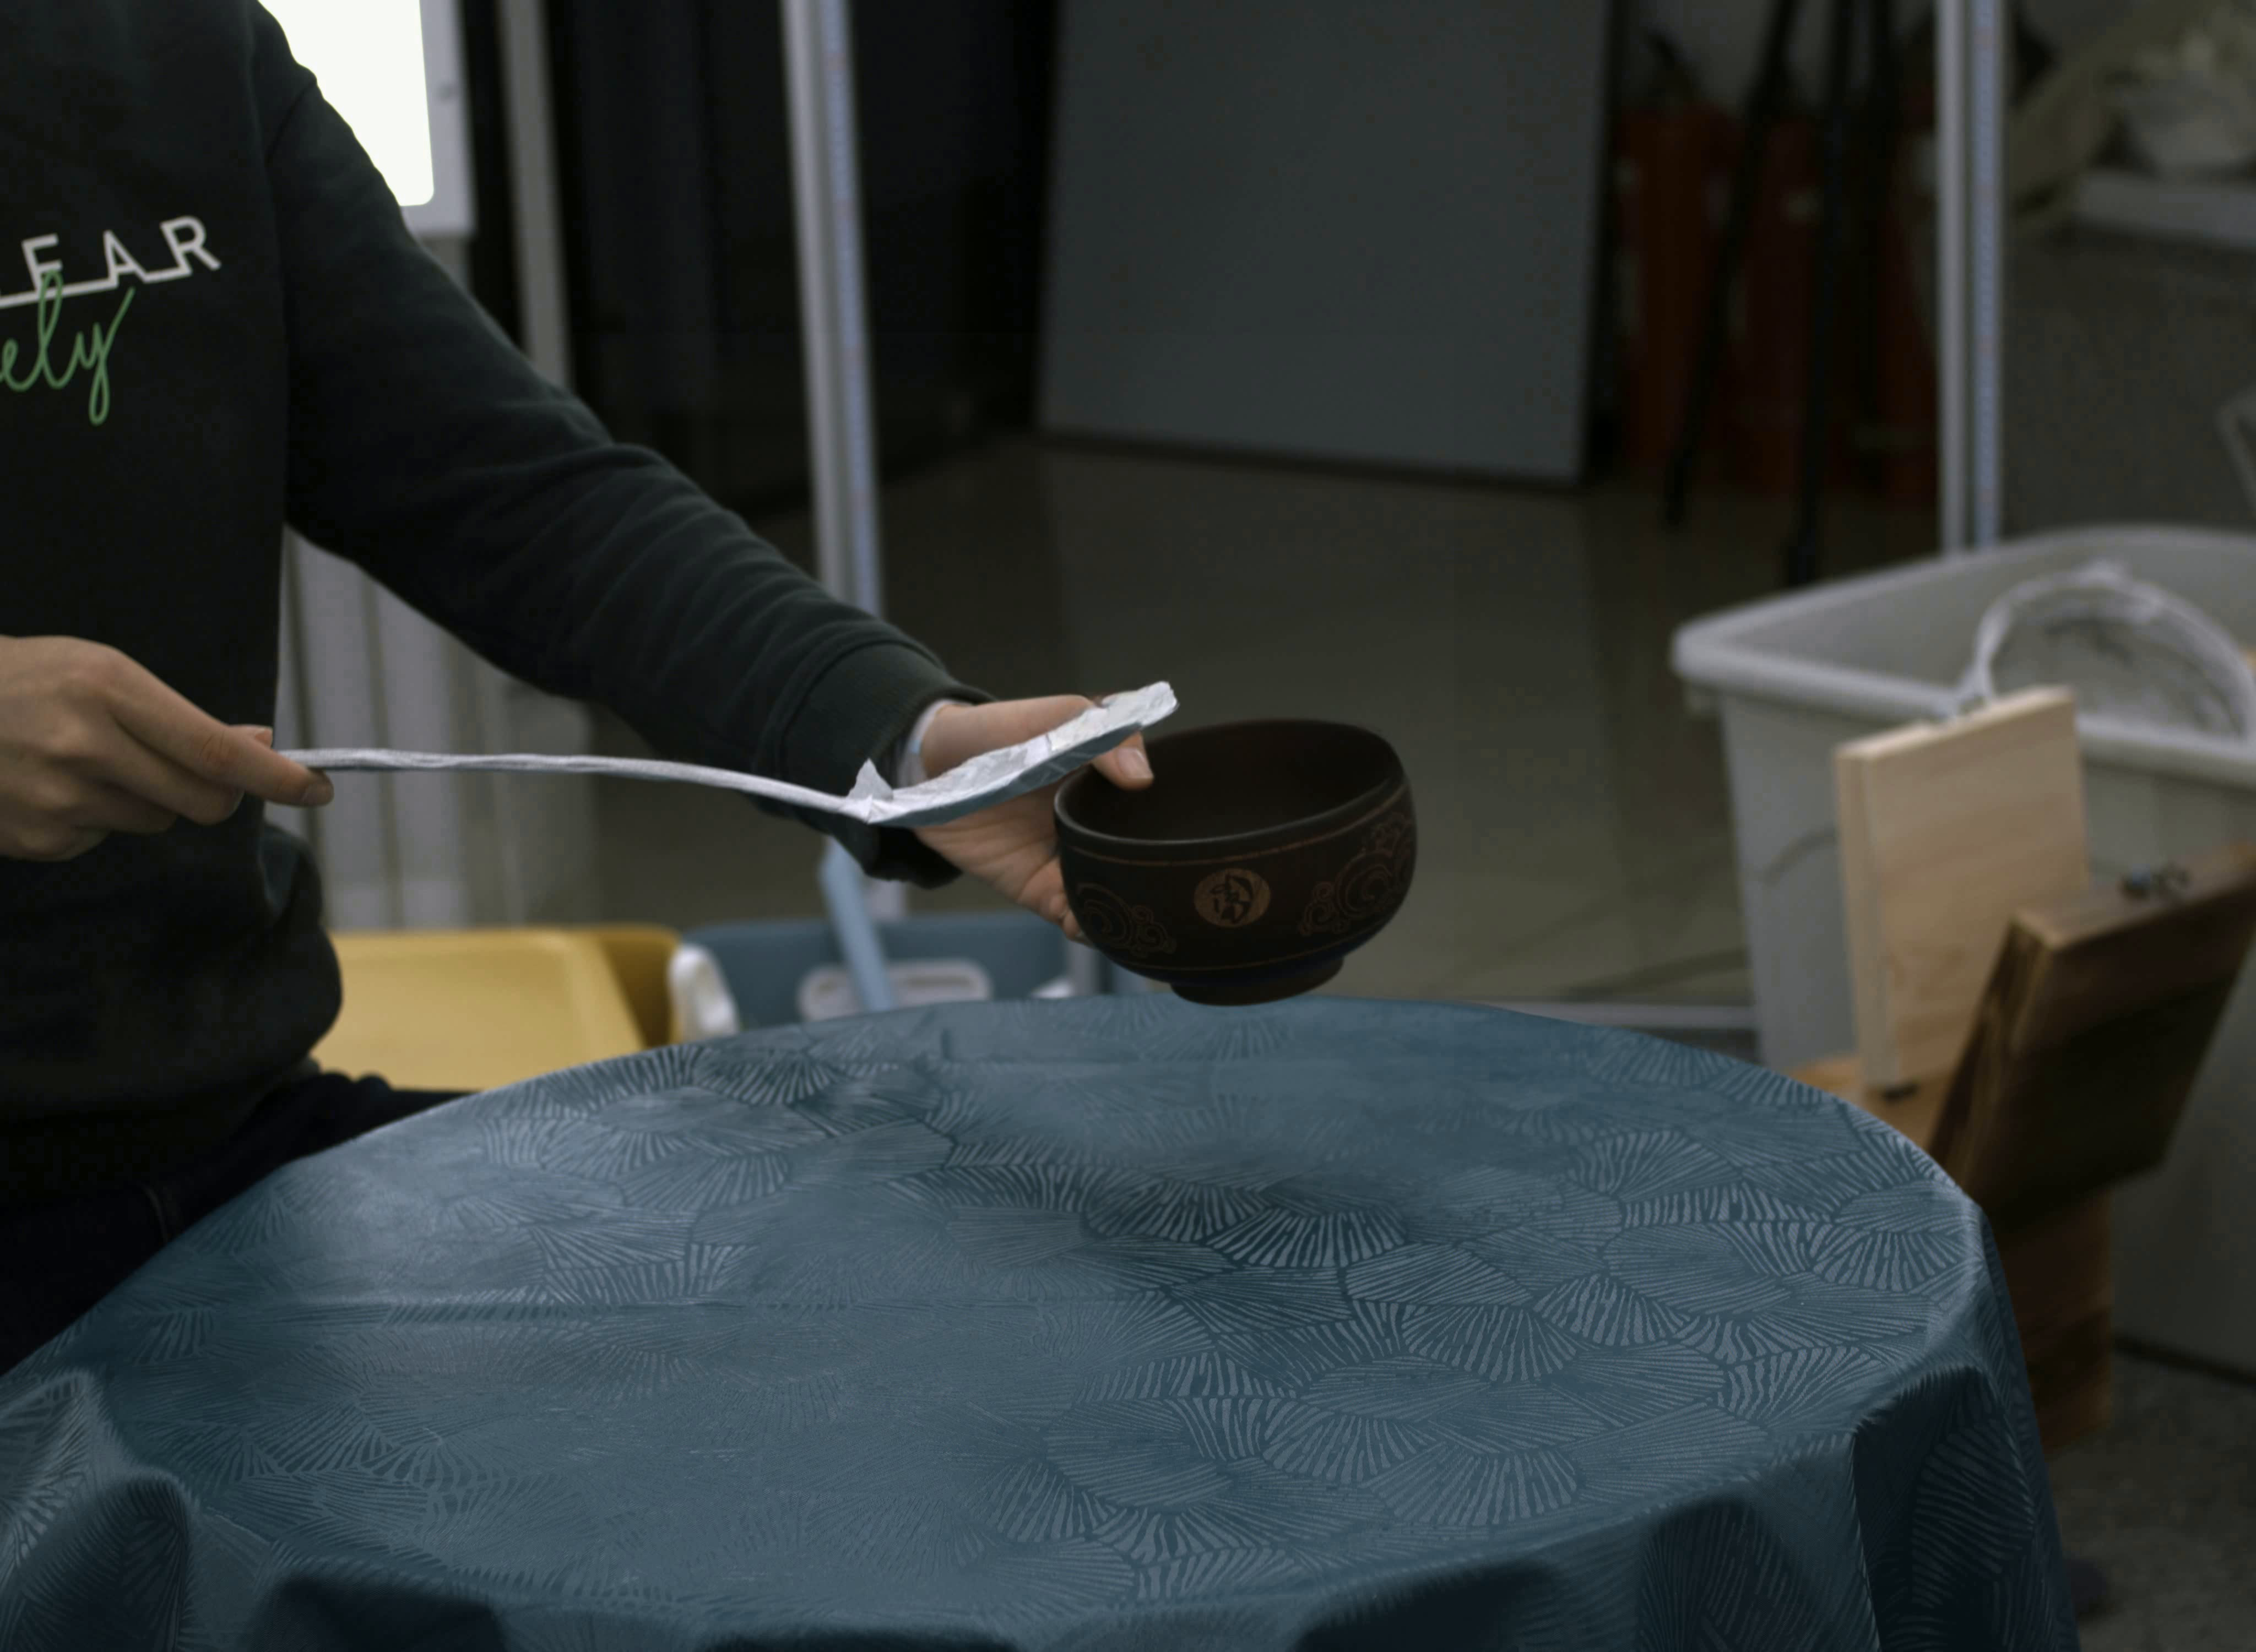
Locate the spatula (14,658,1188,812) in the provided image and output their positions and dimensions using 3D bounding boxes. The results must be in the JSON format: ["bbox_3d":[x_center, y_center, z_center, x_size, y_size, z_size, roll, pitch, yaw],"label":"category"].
[{"bbox_3d":[-0.162,-0.026,1.626,0.361,0.045,0.098,1,10,7],"label":"spatula"}]

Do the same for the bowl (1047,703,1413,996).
[{"bbox_3d":[0.035,0.012,1.728,0.116,0.070,0.118,-8,18,2],"label":"bowl"}]
